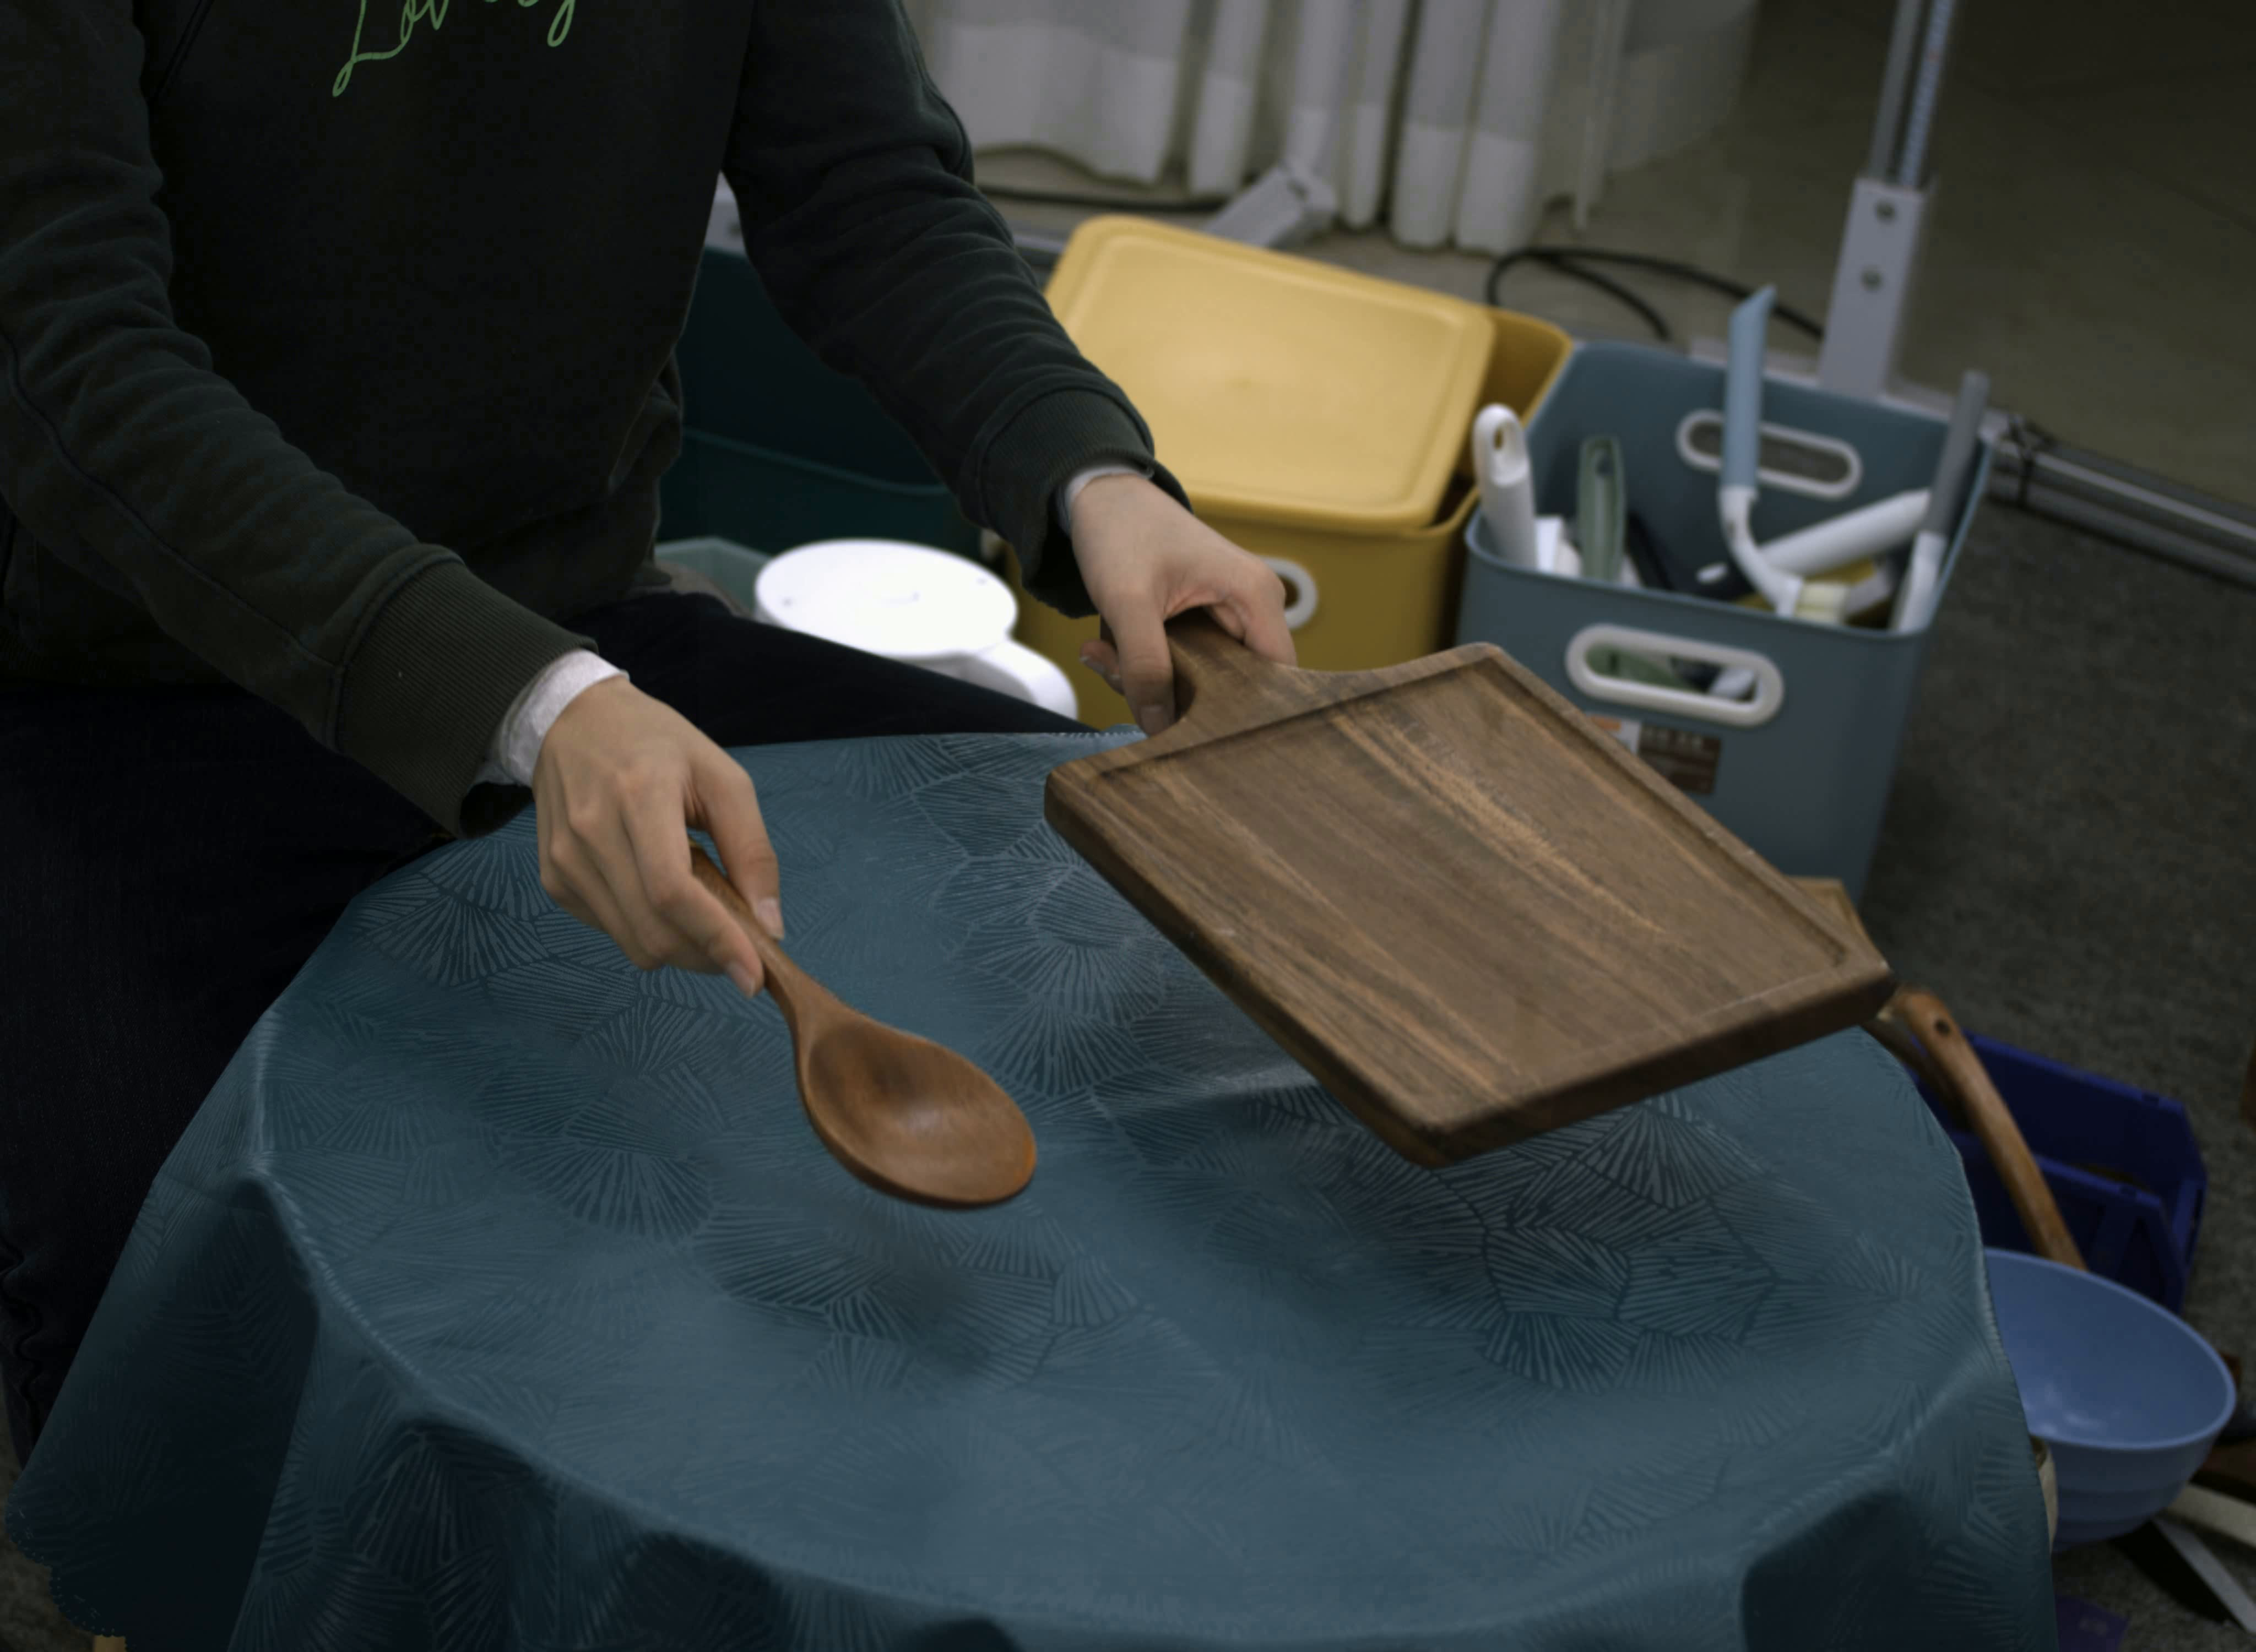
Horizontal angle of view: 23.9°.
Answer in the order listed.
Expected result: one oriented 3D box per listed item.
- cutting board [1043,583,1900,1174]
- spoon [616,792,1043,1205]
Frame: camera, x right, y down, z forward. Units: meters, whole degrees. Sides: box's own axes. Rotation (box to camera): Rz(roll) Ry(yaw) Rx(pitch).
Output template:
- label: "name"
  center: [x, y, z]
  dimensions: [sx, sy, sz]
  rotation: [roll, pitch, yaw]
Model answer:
- label: "cutting board"
  center: [0.090, -0.001, 1.876]
  dimensions: [0.200, 0.023, 0.355]
  rotation: [-18, 36, -25]
- label: "spoon"
  center: [-0.105, 0.057, 1.754]
  dimensions: [0.075, 0.017, 0.218]
  rotation: [-14, 45, -37]
